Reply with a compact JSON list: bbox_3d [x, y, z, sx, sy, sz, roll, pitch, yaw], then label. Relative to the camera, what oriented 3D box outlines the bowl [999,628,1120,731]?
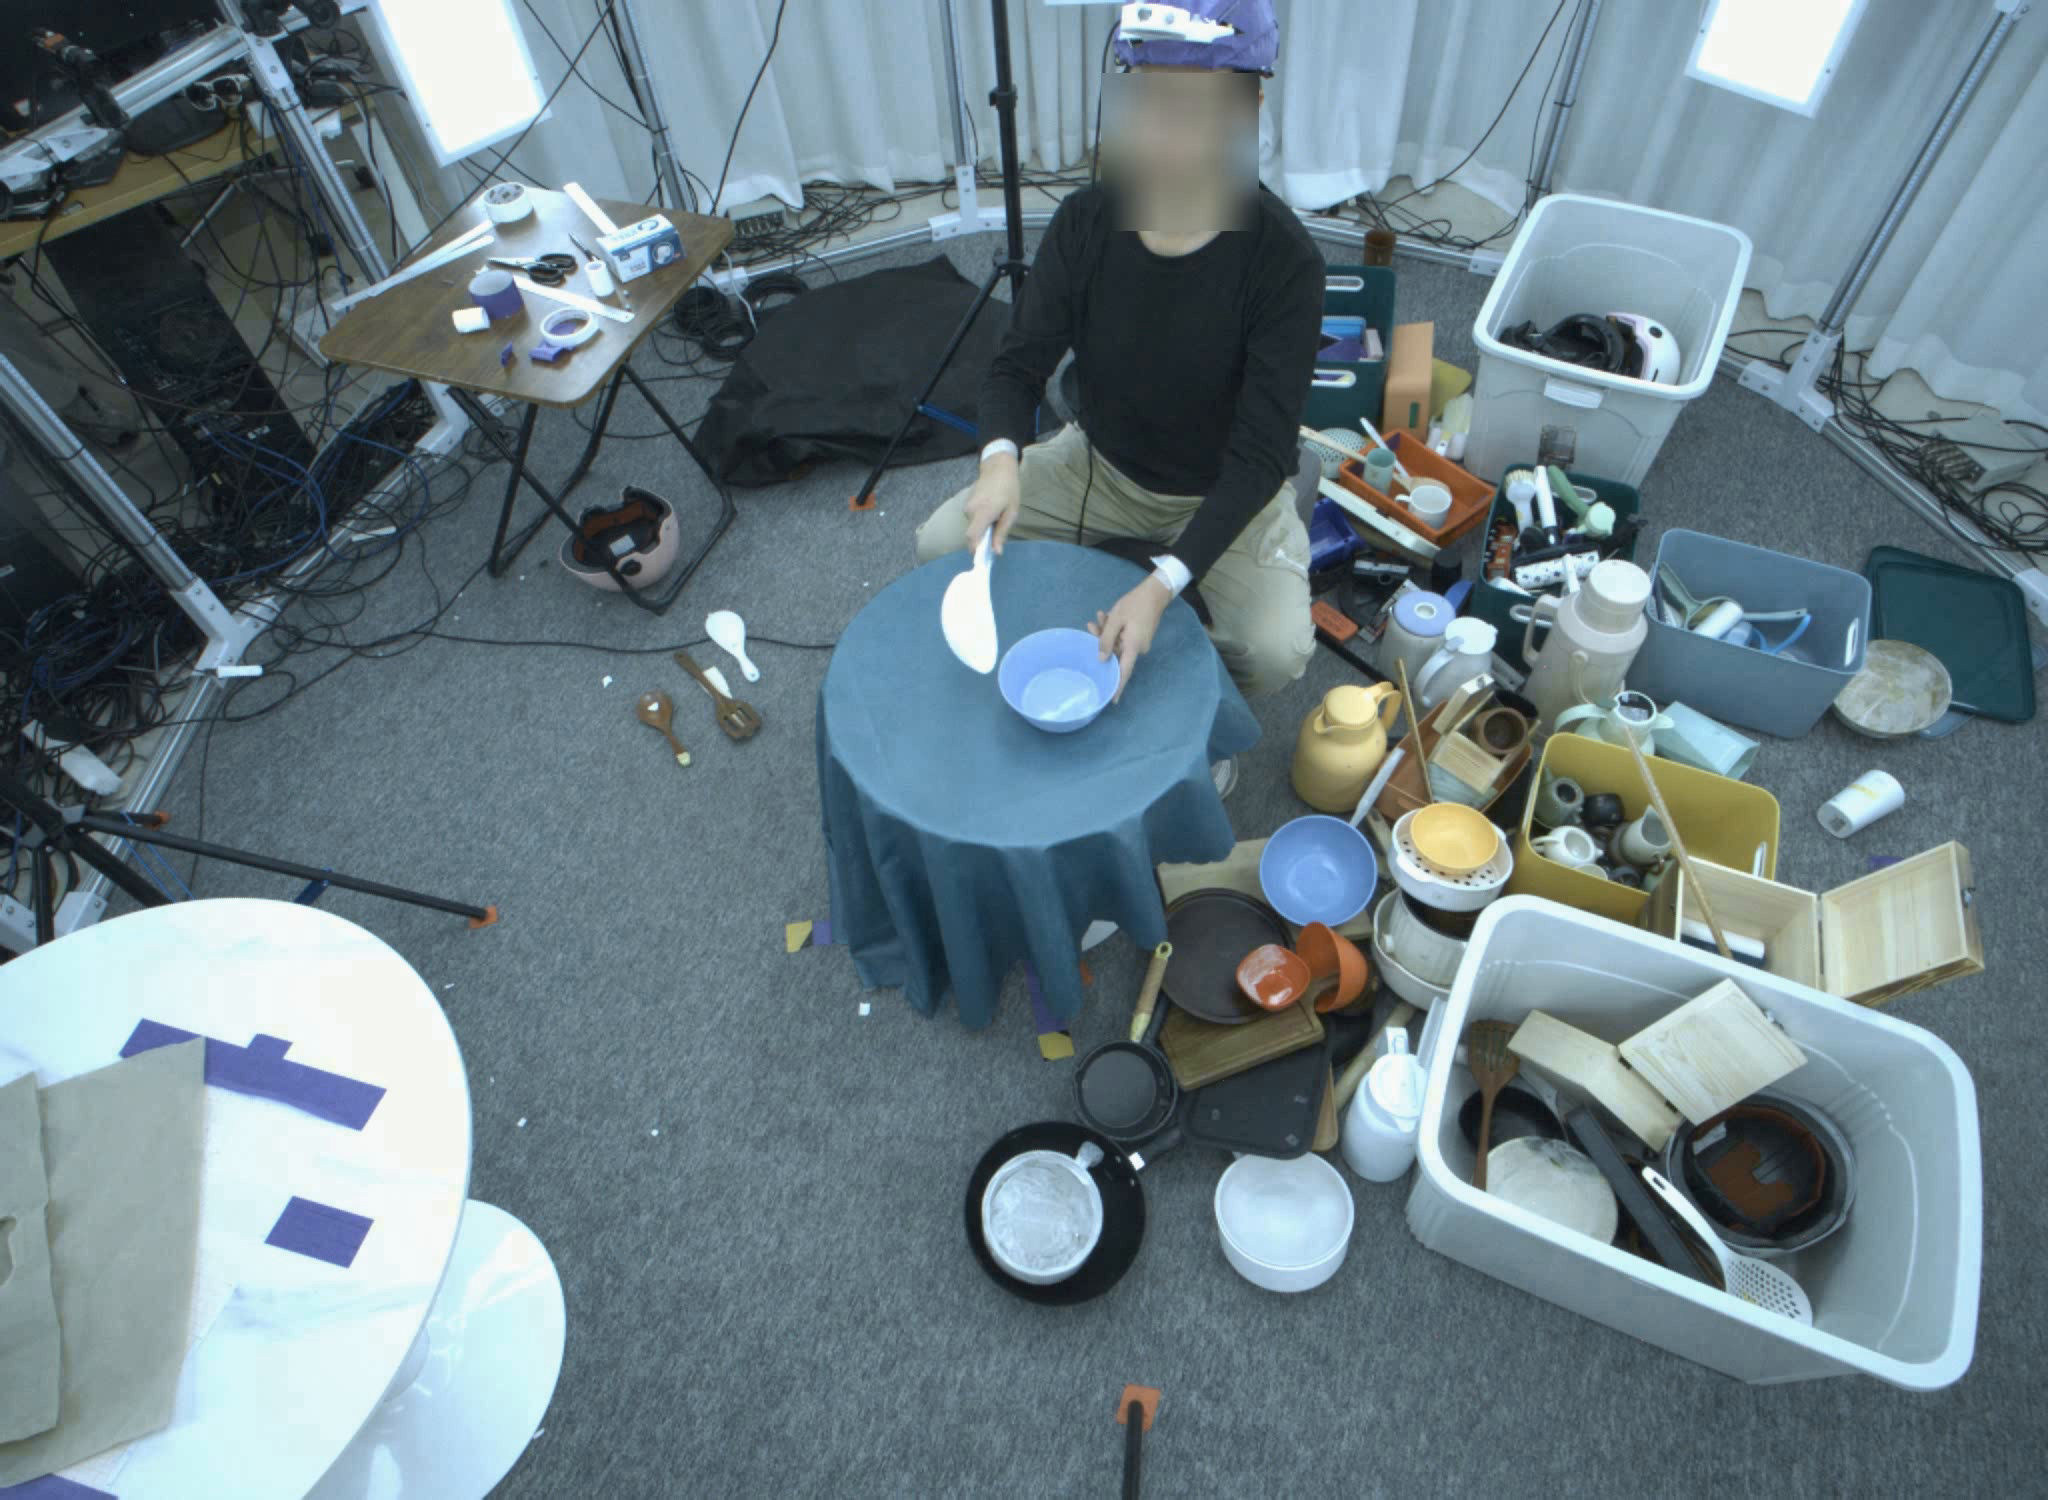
[{"bbox_3d":[0.053,-0.093,1.809,0.176,0.071,0.174,0,54,2],"label":"bowl"}]

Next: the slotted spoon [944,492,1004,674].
[{"bbox_3d":[-0.060,-0.249,1.724,0.045,0.139,0.347,-6,48,23],"label":"slotted spoon"}]
